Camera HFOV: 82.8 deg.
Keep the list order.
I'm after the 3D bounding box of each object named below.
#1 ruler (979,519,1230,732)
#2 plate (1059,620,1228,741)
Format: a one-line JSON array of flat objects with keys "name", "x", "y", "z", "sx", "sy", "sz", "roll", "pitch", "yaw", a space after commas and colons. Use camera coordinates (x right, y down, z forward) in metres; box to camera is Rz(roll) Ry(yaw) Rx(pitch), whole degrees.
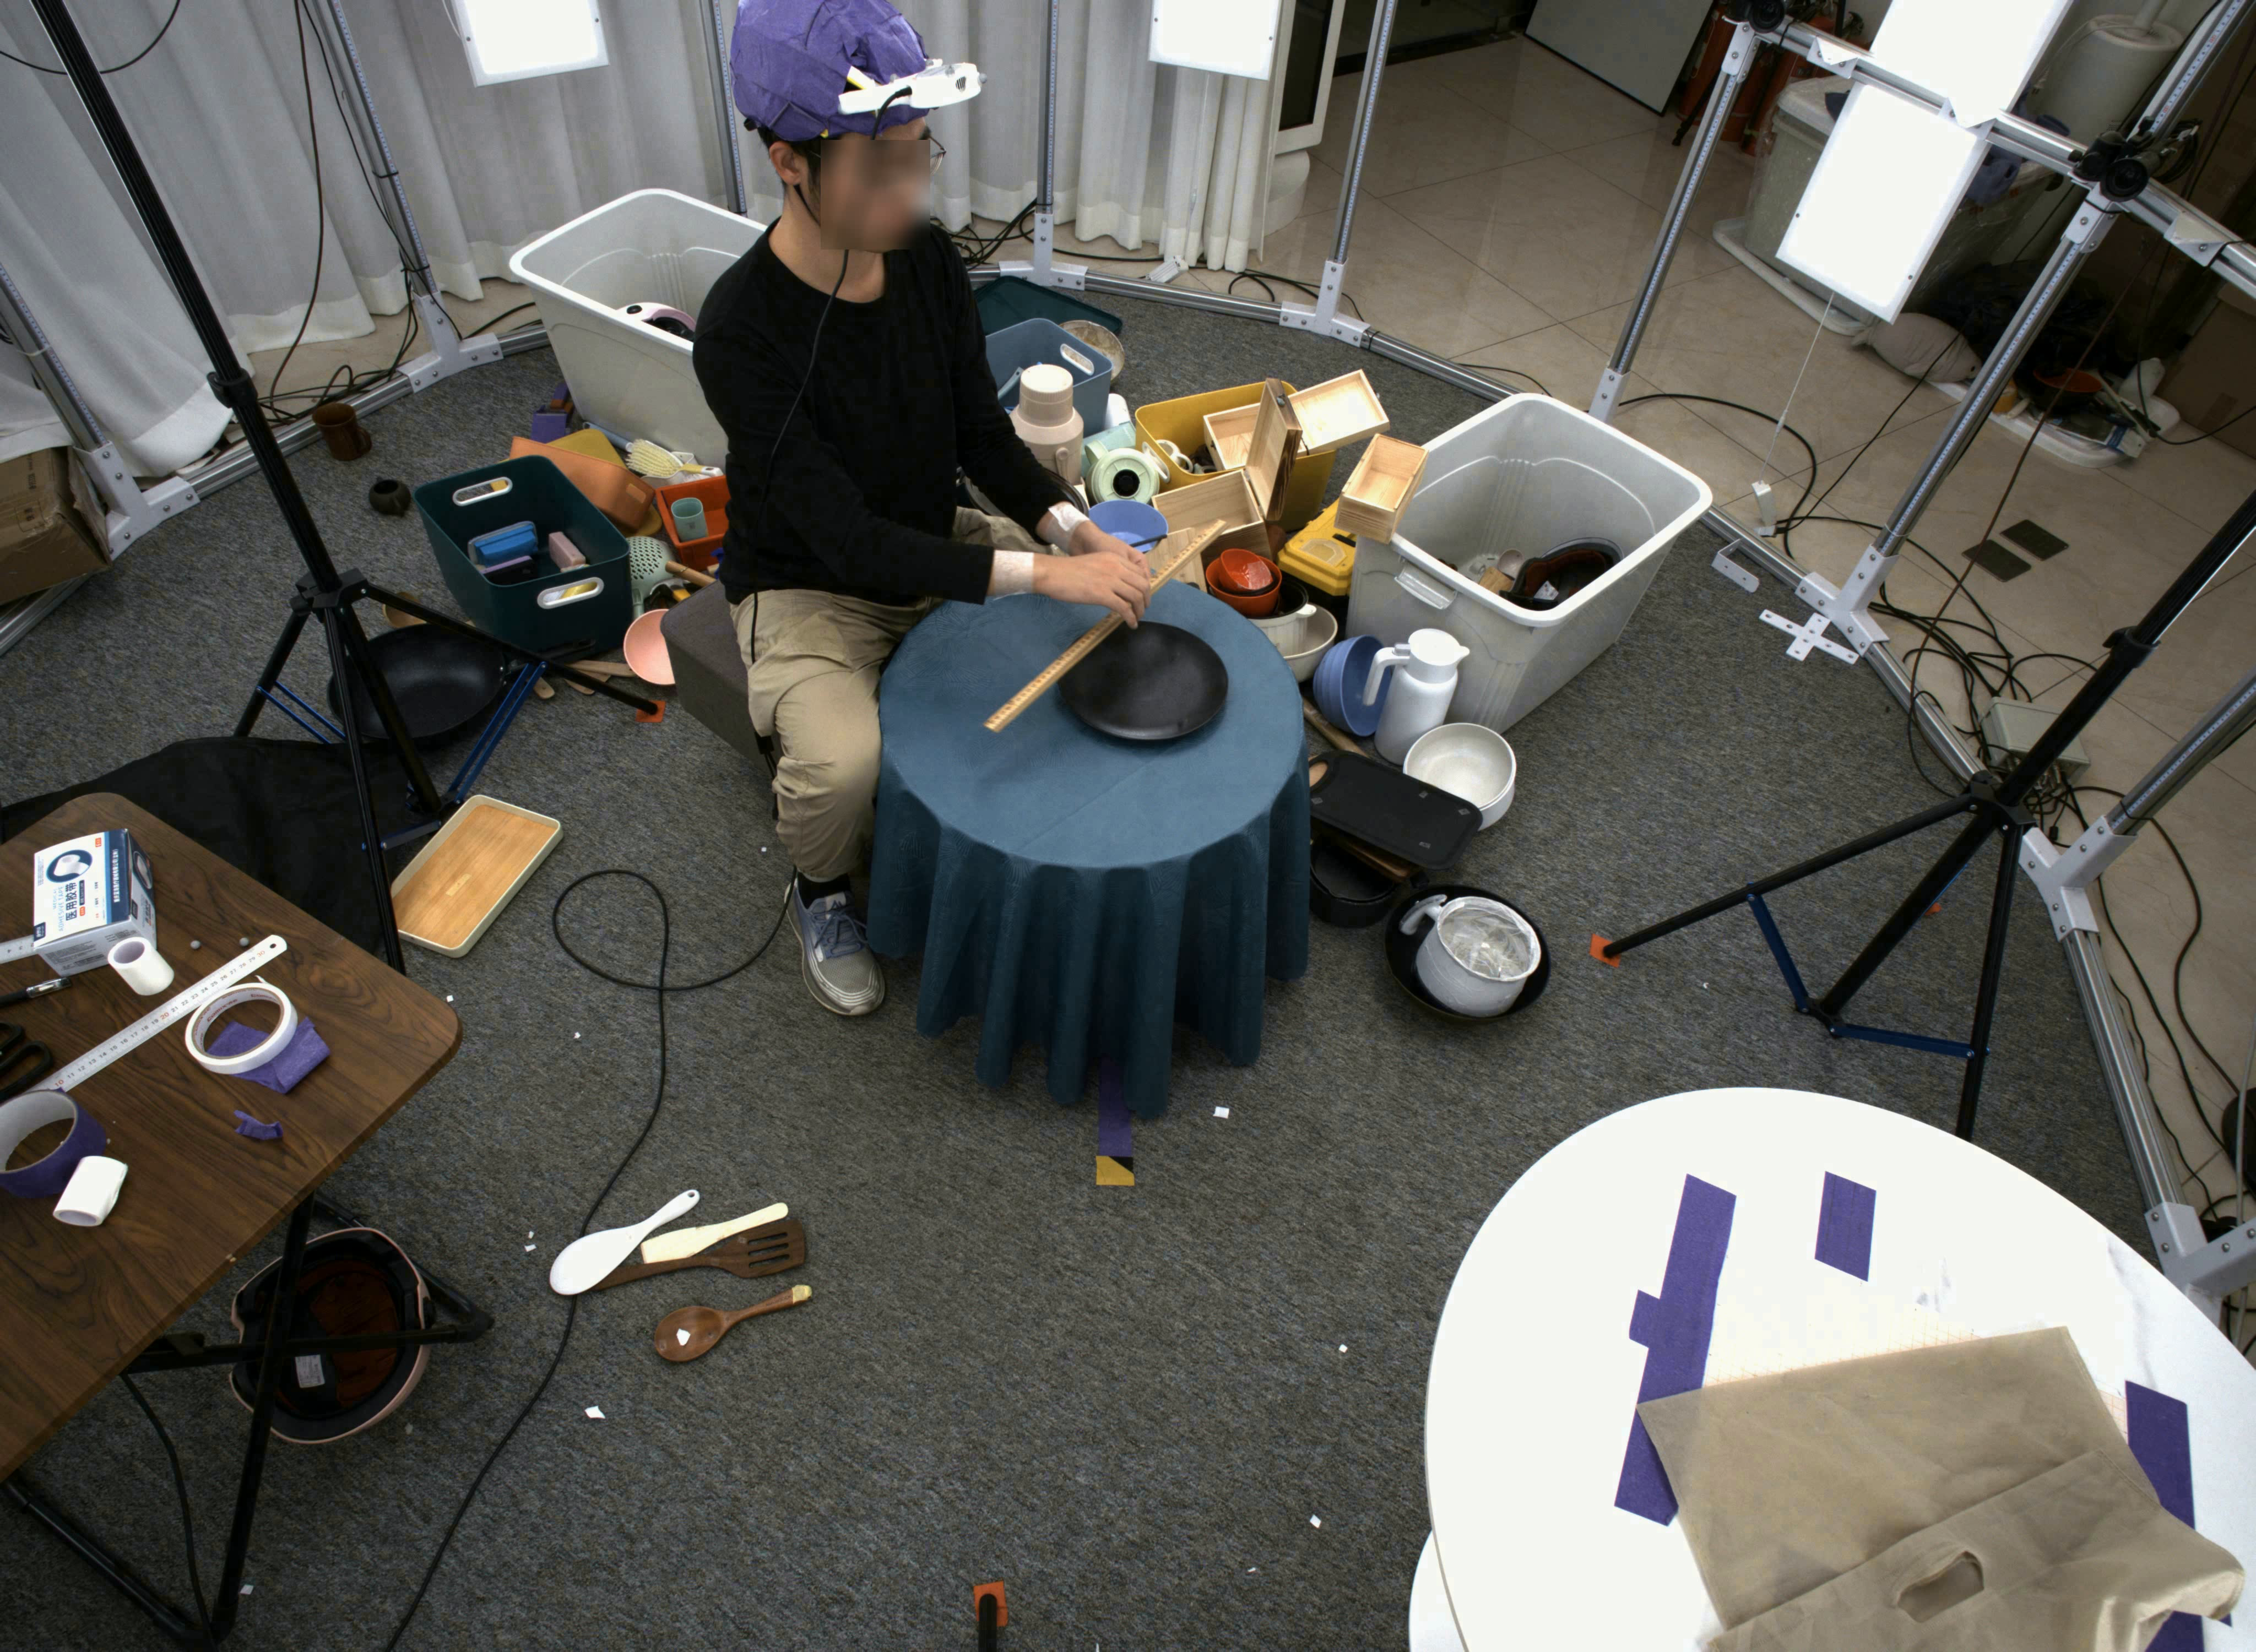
[{"name": "ruler", "x": -0.024, "y": -0.288, "z": 1.787, "sx": 0.027, "sy": 0.006, "sz": 0.506, "roll": 28, "pitch": 60, "yaw": 33}, {"name": "plate", "x": 0.022, "y": -0.206, "z": 1.835, "sx": 0.244, "sy": 0.023, "sz": 0.250, "roll": 2, "pitch": 49, "yaw": -2}]
